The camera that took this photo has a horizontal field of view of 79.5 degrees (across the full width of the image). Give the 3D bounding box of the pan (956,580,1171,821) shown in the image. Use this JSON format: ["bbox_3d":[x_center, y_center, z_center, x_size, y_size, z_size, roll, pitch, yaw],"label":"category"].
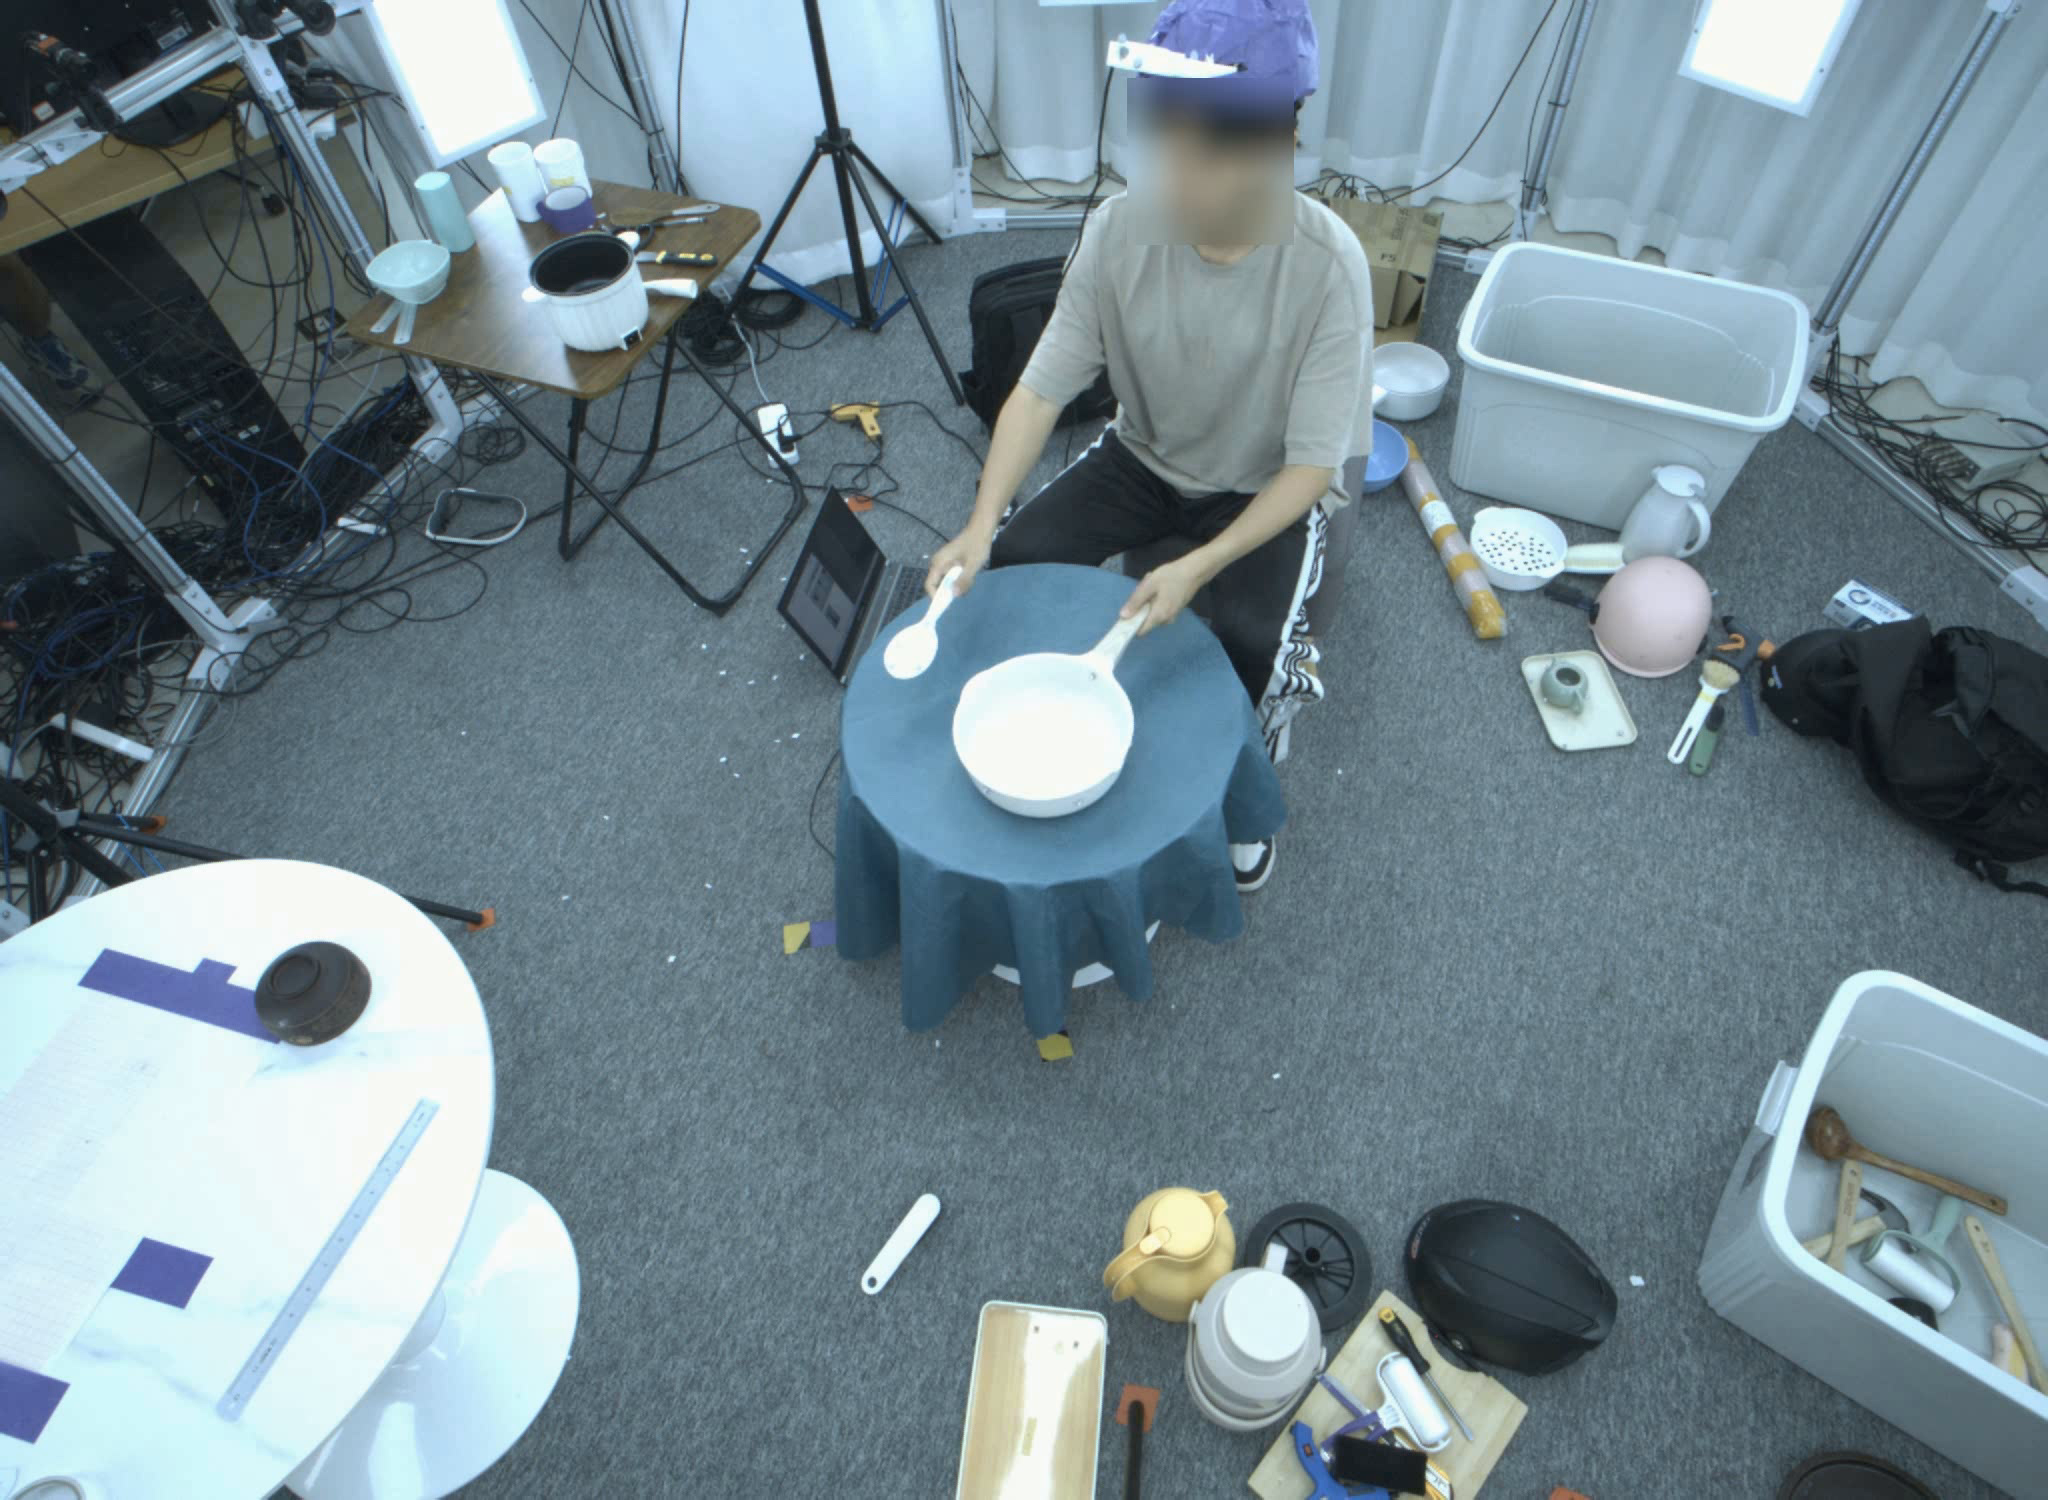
[{"bbox_3d":[0.088,-0.075,1.773,0.259,0.103,0.437,30,61,23],"label":"pan"}]

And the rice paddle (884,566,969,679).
[{"bbox_3d":[-0.139,-0.184,1.780,0.068,0.029,0.205,22,63,12],"label":"rice paddle"}]
